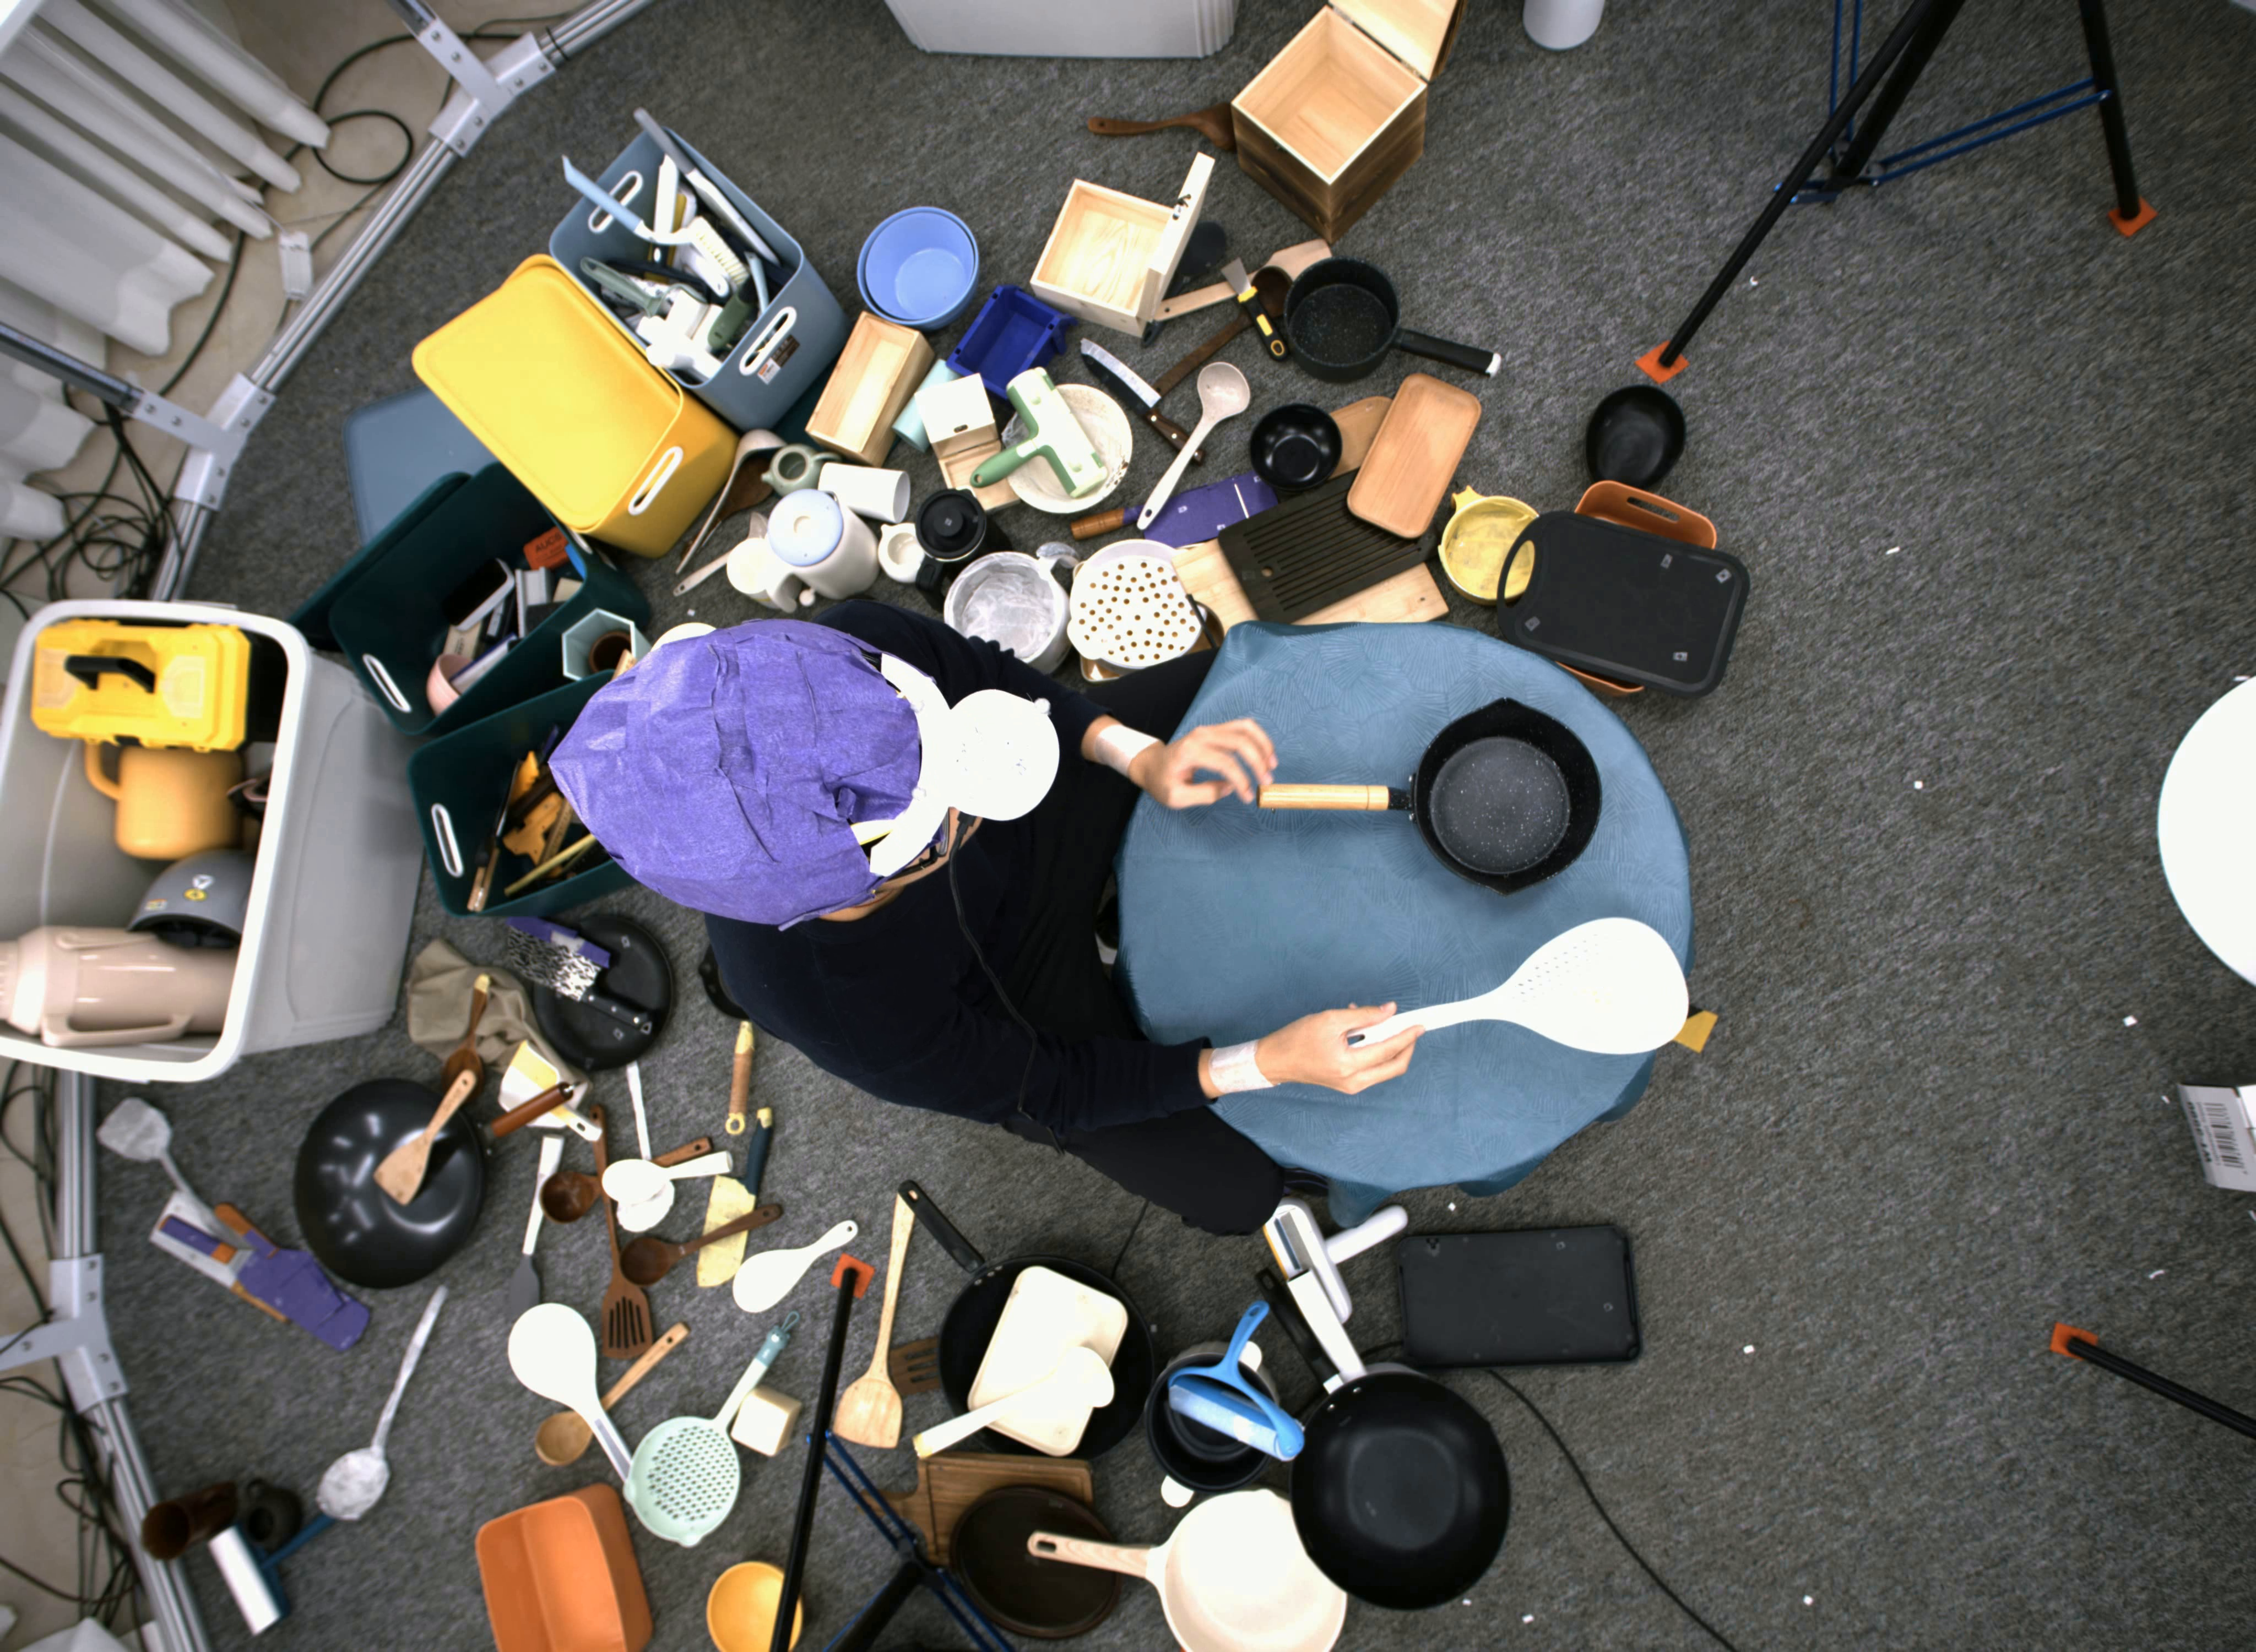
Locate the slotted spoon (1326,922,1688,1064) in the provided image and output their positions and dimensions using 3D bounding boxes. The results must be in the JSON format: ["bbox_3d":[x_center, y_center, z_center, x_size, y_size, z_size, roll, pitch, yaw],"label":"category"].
[{"bbox_3d":[0.361,0.177,1.324,0.348,0.051,0.134,-9,63,-5],"label":"slotted spoon"}]

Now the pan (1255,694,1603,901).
[{"bbox_3d":[0.303,-0.027,1.405,0.344,0.108,0.207,-1,87,9],"label":"pan"}]
